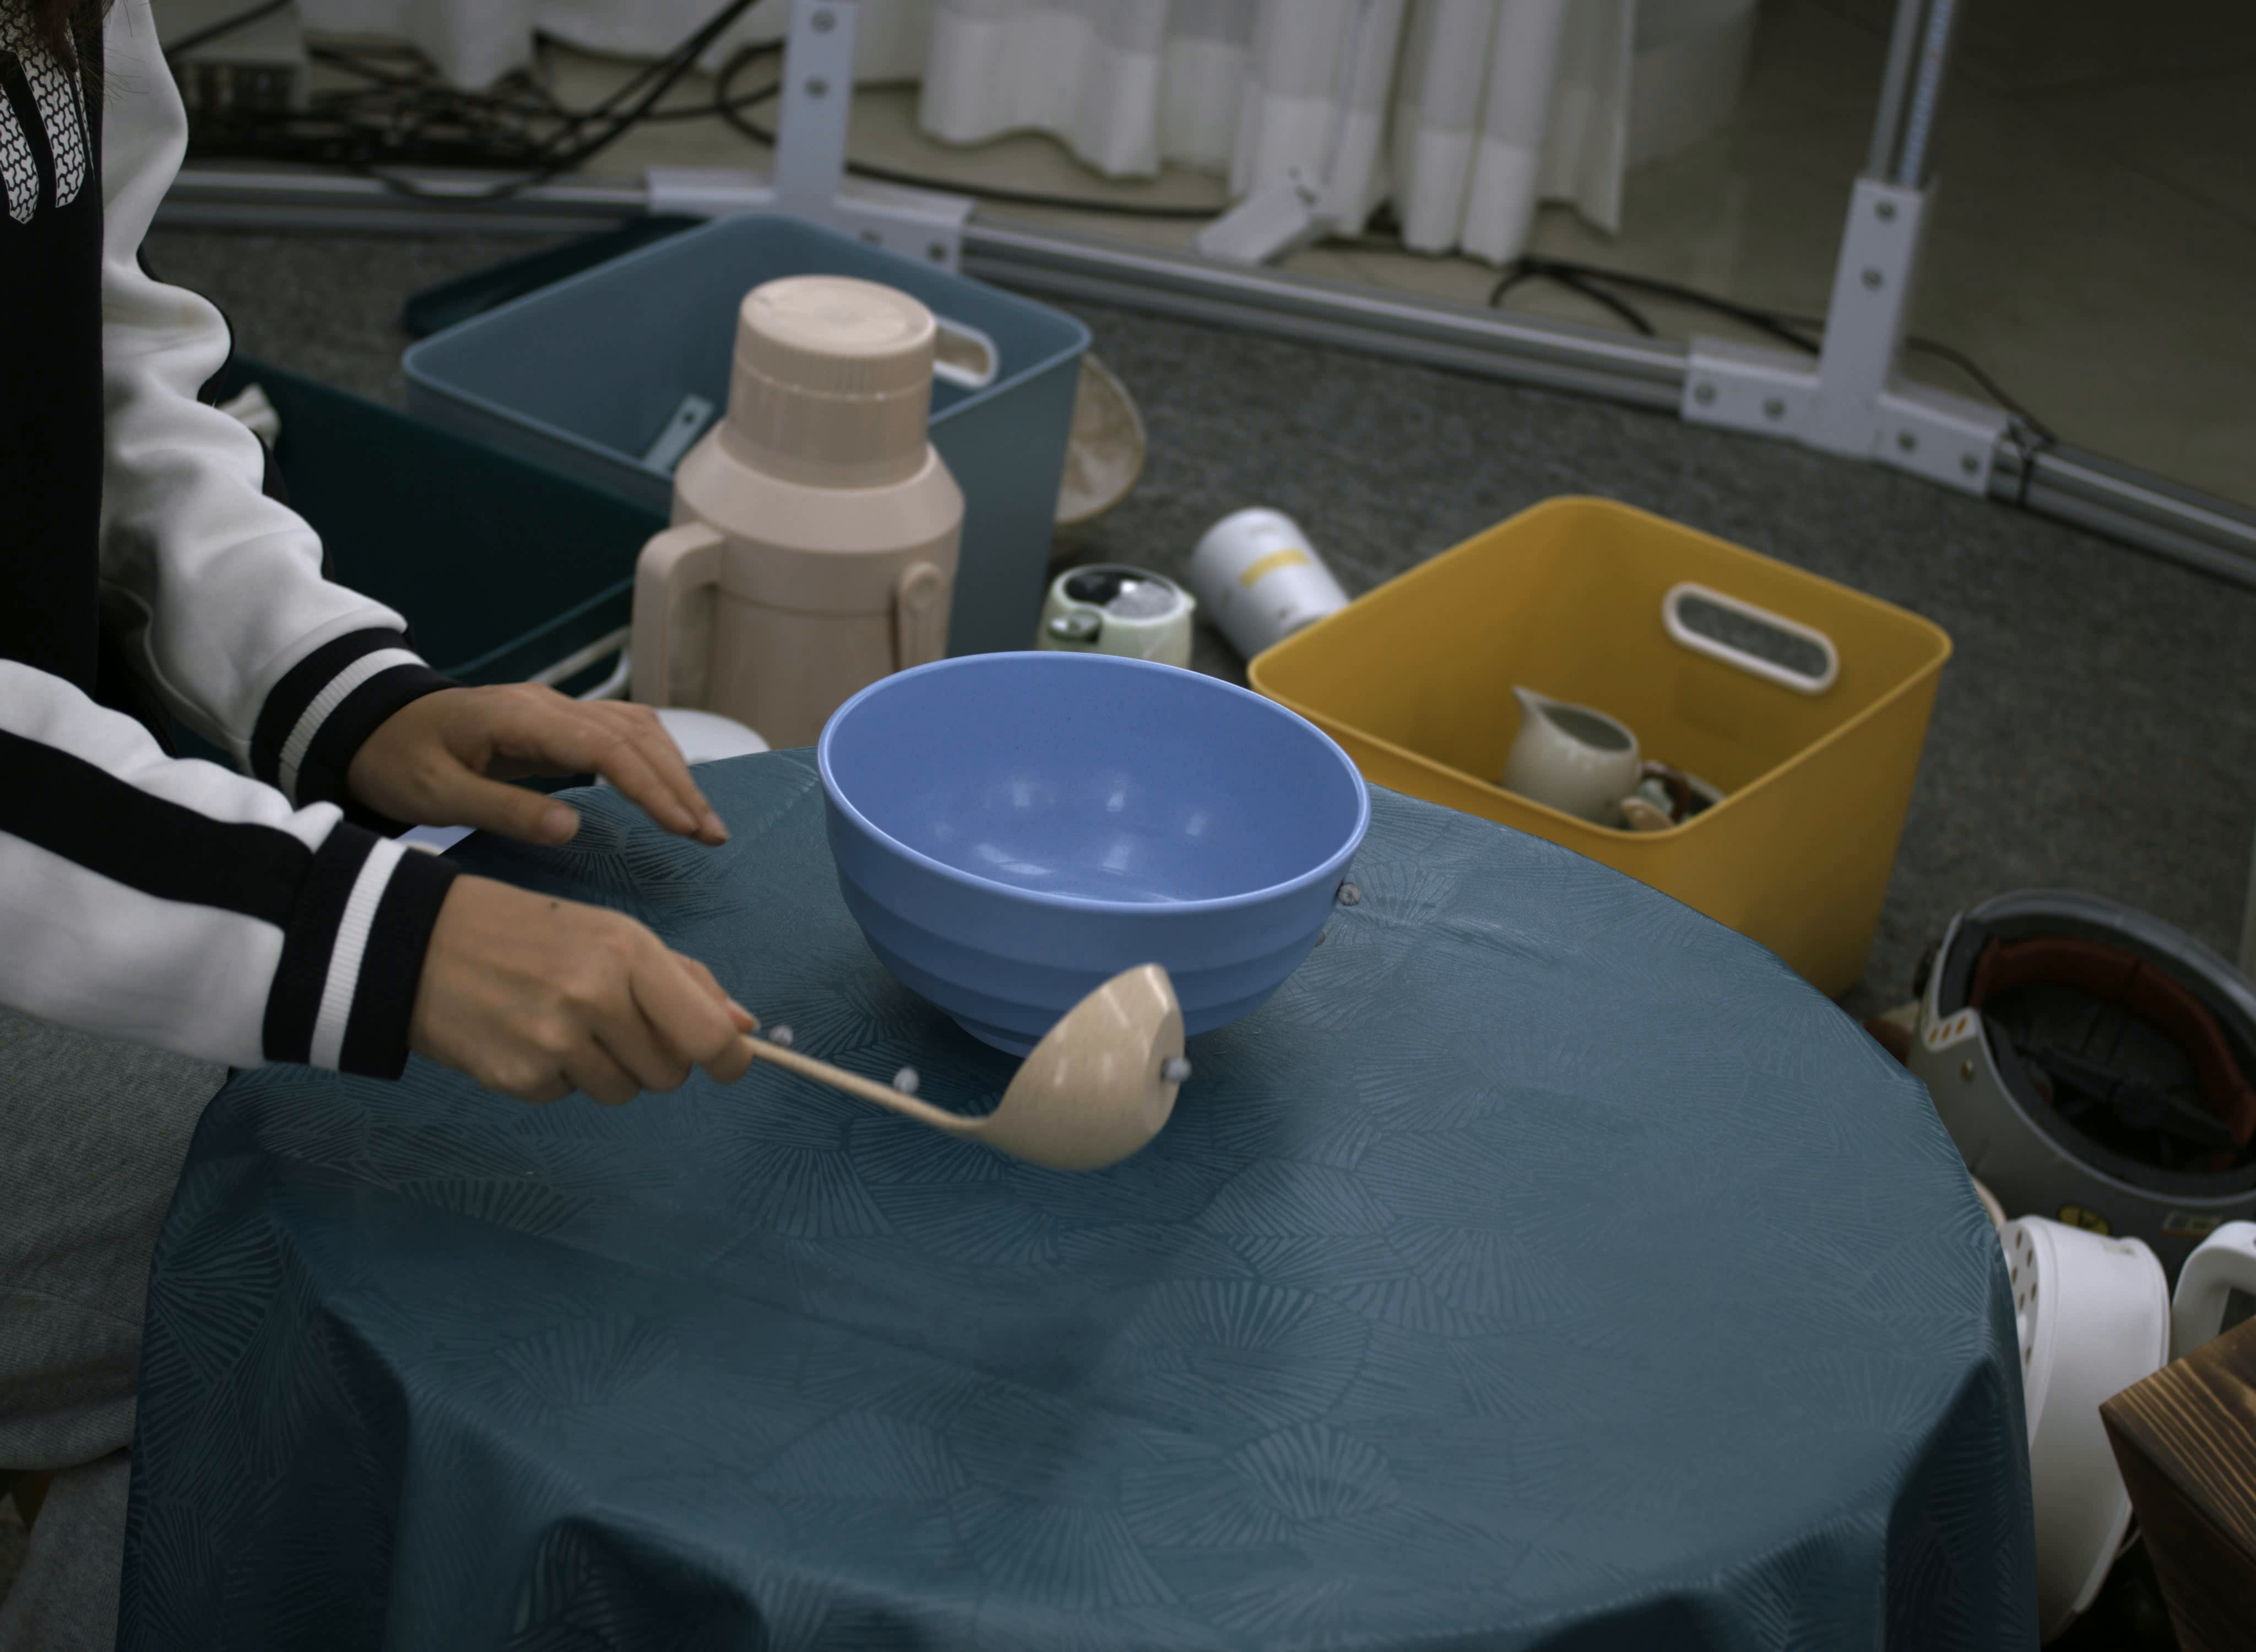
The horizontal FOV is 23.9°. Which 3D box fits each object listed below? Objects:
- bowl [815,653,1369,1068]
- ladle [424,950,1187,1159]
[{"bbox_3d":[-0.017,0.025,1.894,0.196,0.095,0.198,4,28,-3],"label":"bowl"},{"bbox_3d":[-0.104,0.047,1.724,0.255,0.073,0.071,15,-14,18],"label":"ladle"}]
